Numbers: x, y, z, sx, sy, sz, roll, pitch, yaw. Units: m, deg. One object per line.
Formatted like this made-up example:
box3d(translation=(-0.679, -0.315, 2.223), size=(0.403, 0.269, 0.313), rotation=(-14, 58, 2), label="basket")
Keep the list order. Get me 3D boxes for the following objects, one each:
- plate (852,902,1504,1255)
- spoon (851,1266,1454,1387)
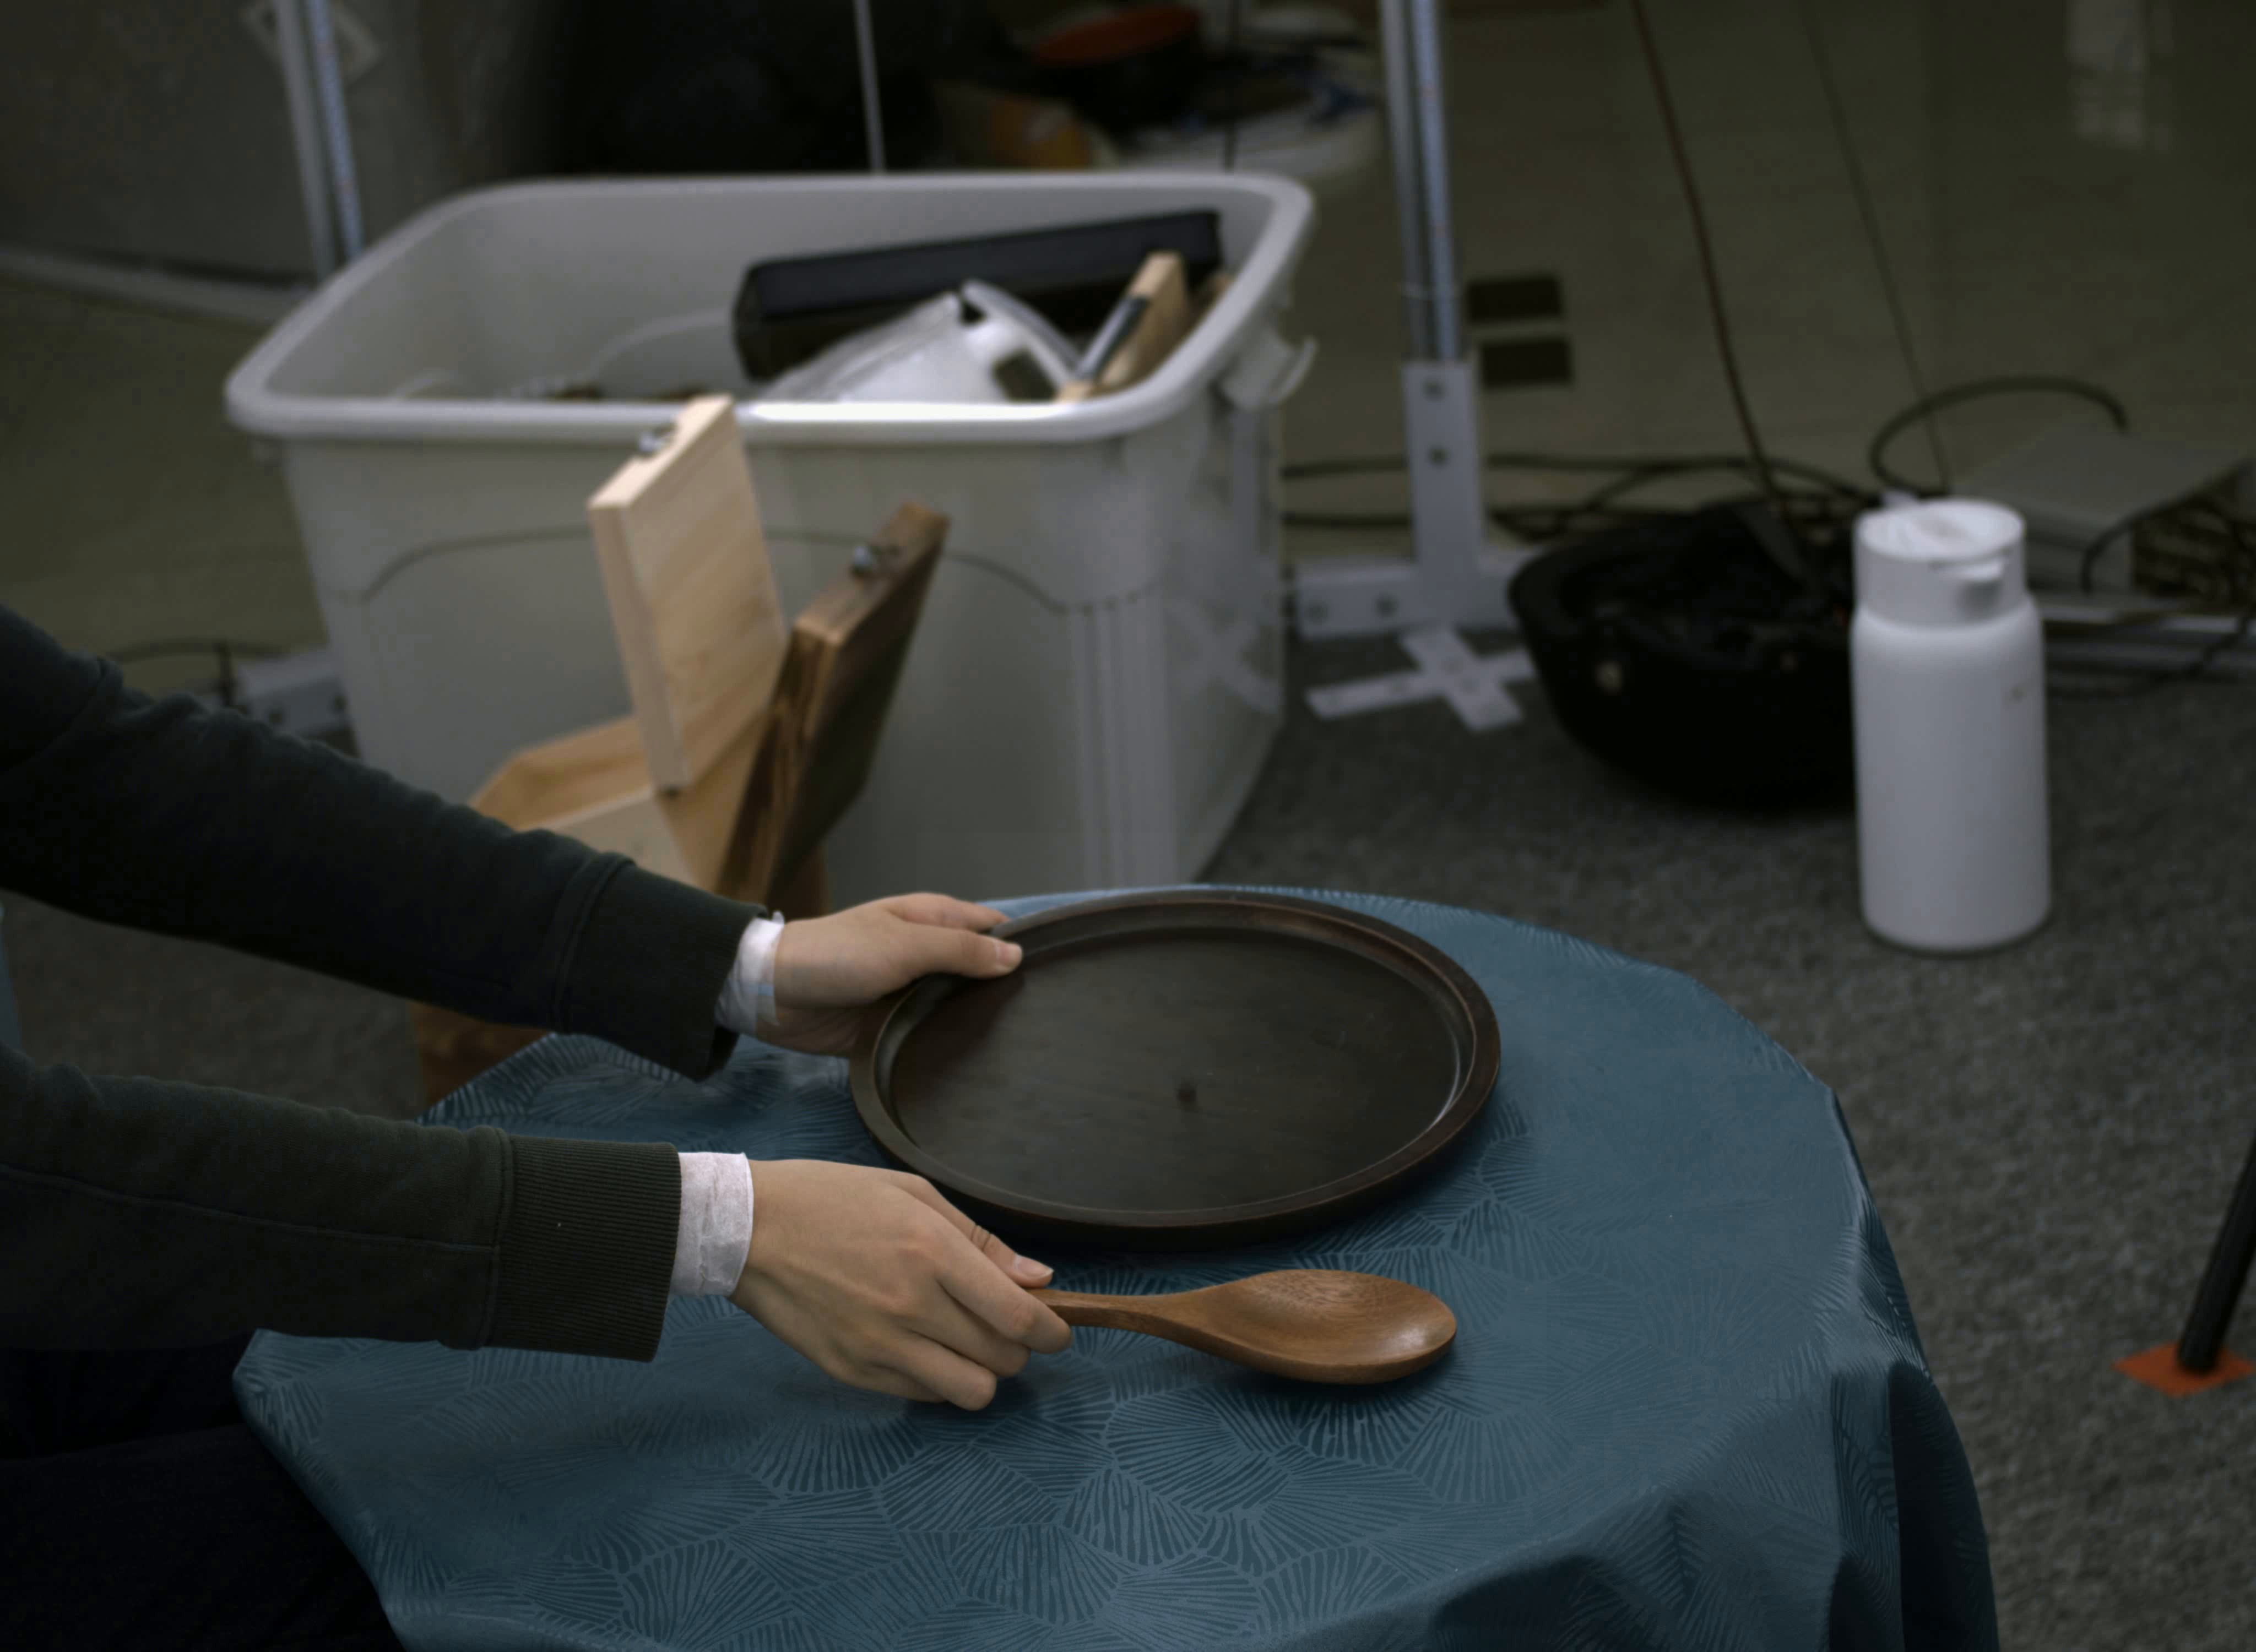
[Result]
box3d(translation=(0.019, 0.096, 2.192), size=(0.254, 0.029, 0.251), rotation=(-1, 28, 1), label="plate")
box3d(translation=(0.008, 0.175, 2.024), size=(0.215, 0.017, 0.074), rotation=(5, 24, 3), label="spoon")
